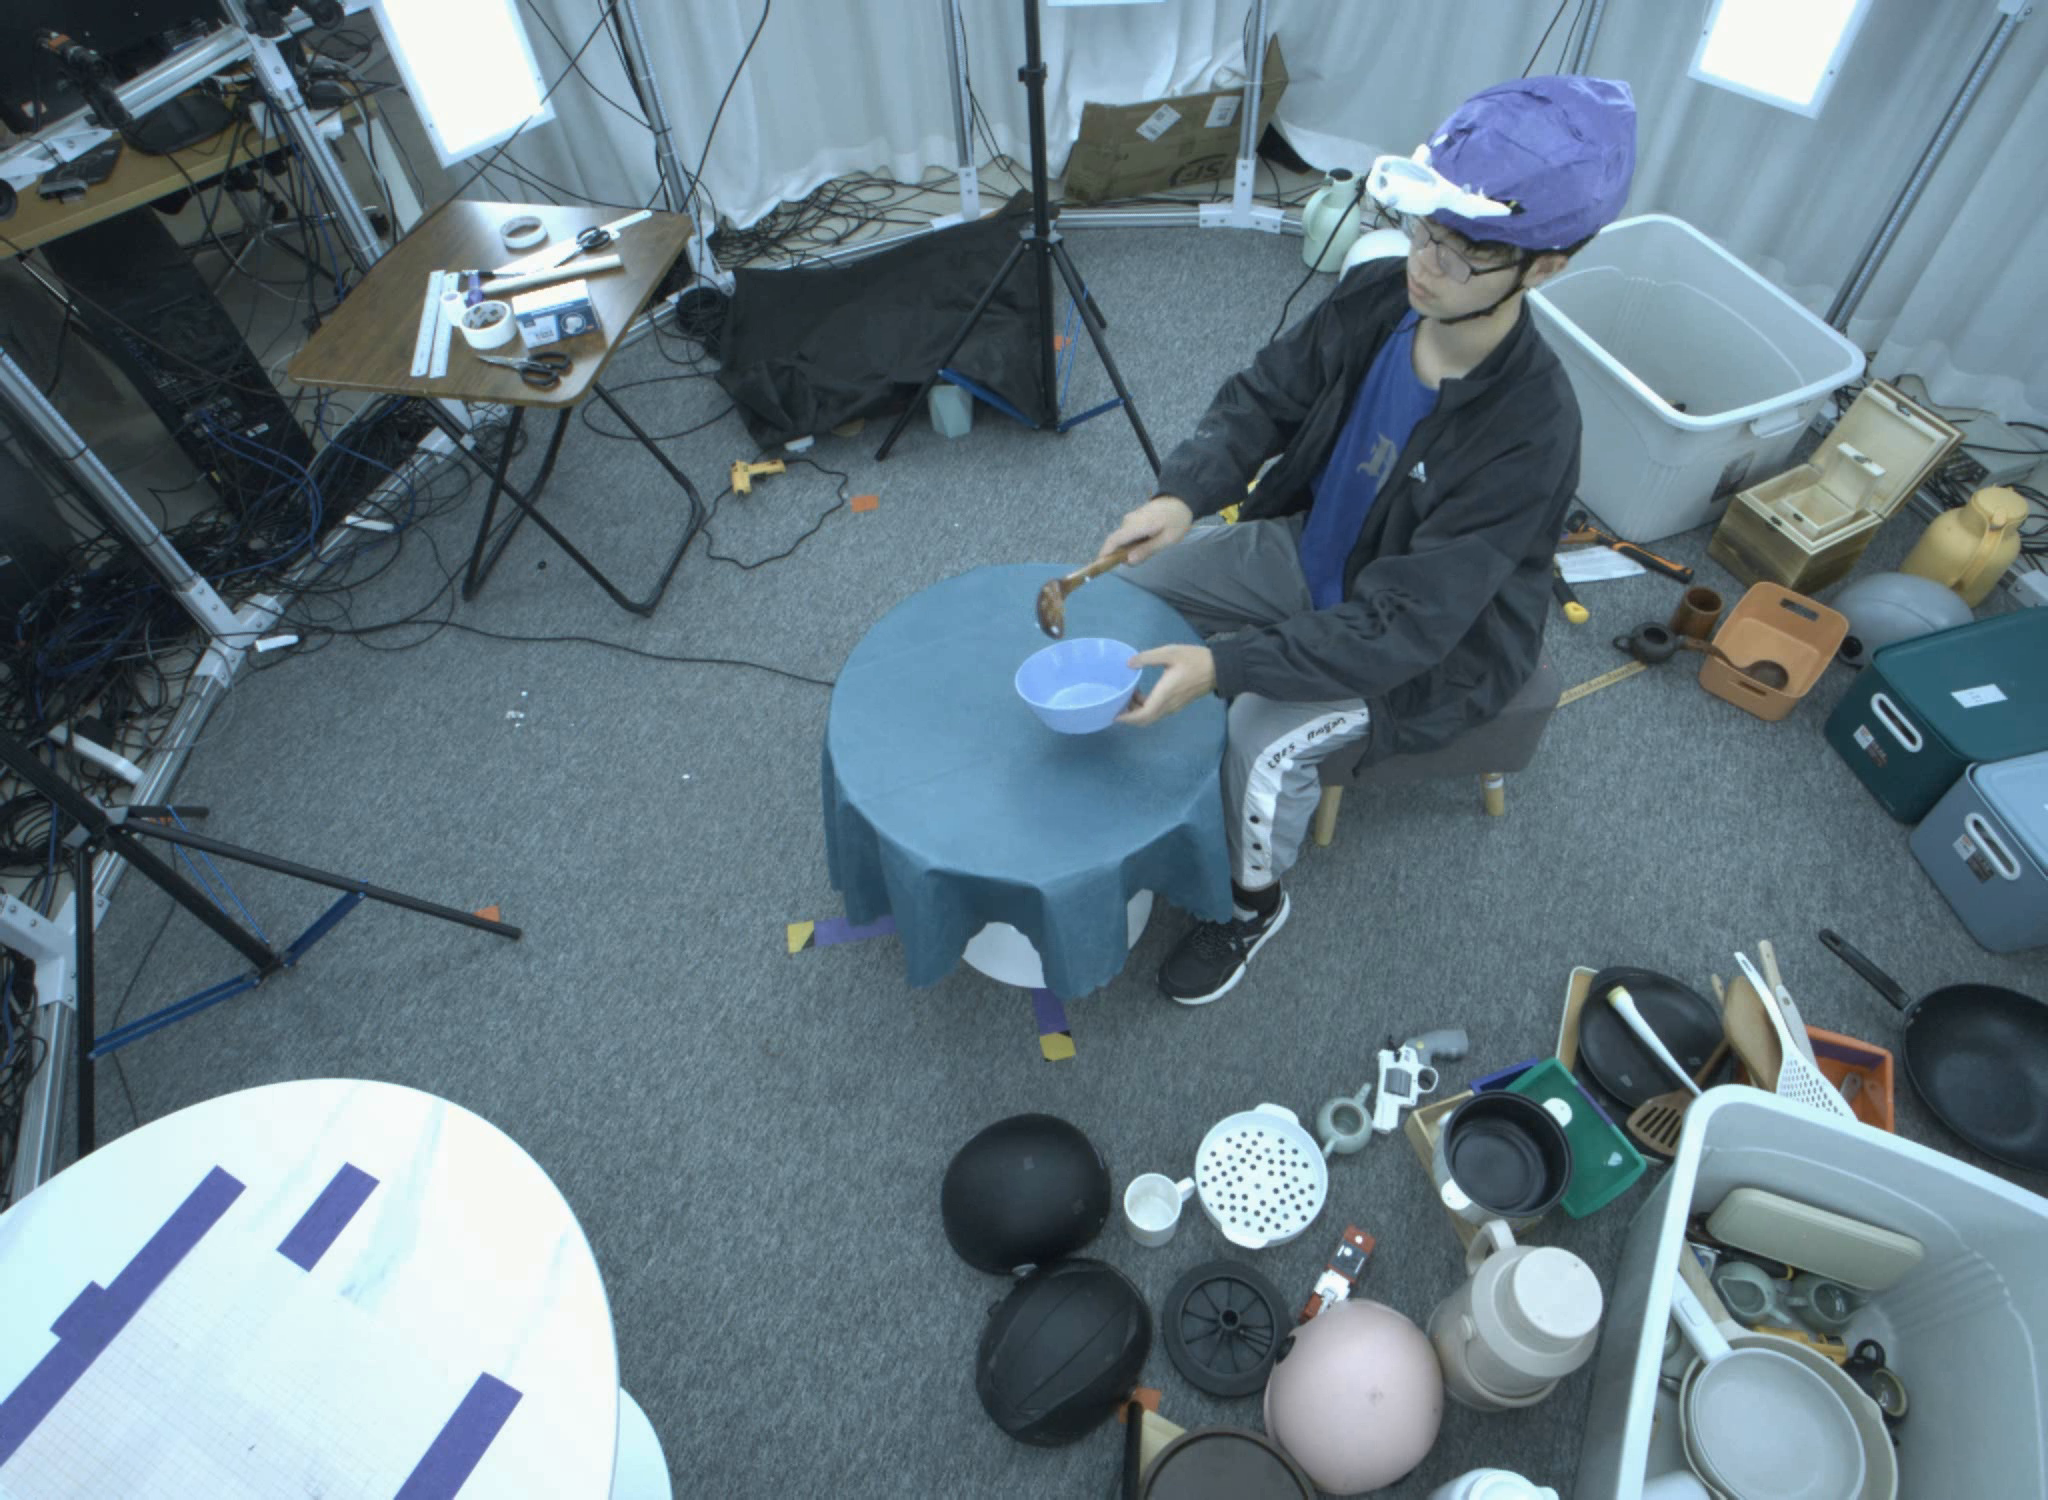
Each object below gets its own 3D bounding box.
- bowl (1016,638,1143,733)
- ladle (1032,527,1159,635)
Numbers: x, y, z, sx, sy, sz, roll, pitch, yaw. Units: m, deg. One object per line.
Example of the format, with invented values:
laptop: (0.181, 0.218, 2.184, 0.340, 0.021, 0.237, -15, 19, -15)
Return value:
bowl: (0.080, -0.082, 1.701, 0.175, 0.071, 0.174, -6, 36, 6)
ladle: (0.112, -0.242, 1.694, 0.277, 0.082, 0.075, -30, 55, -31)
